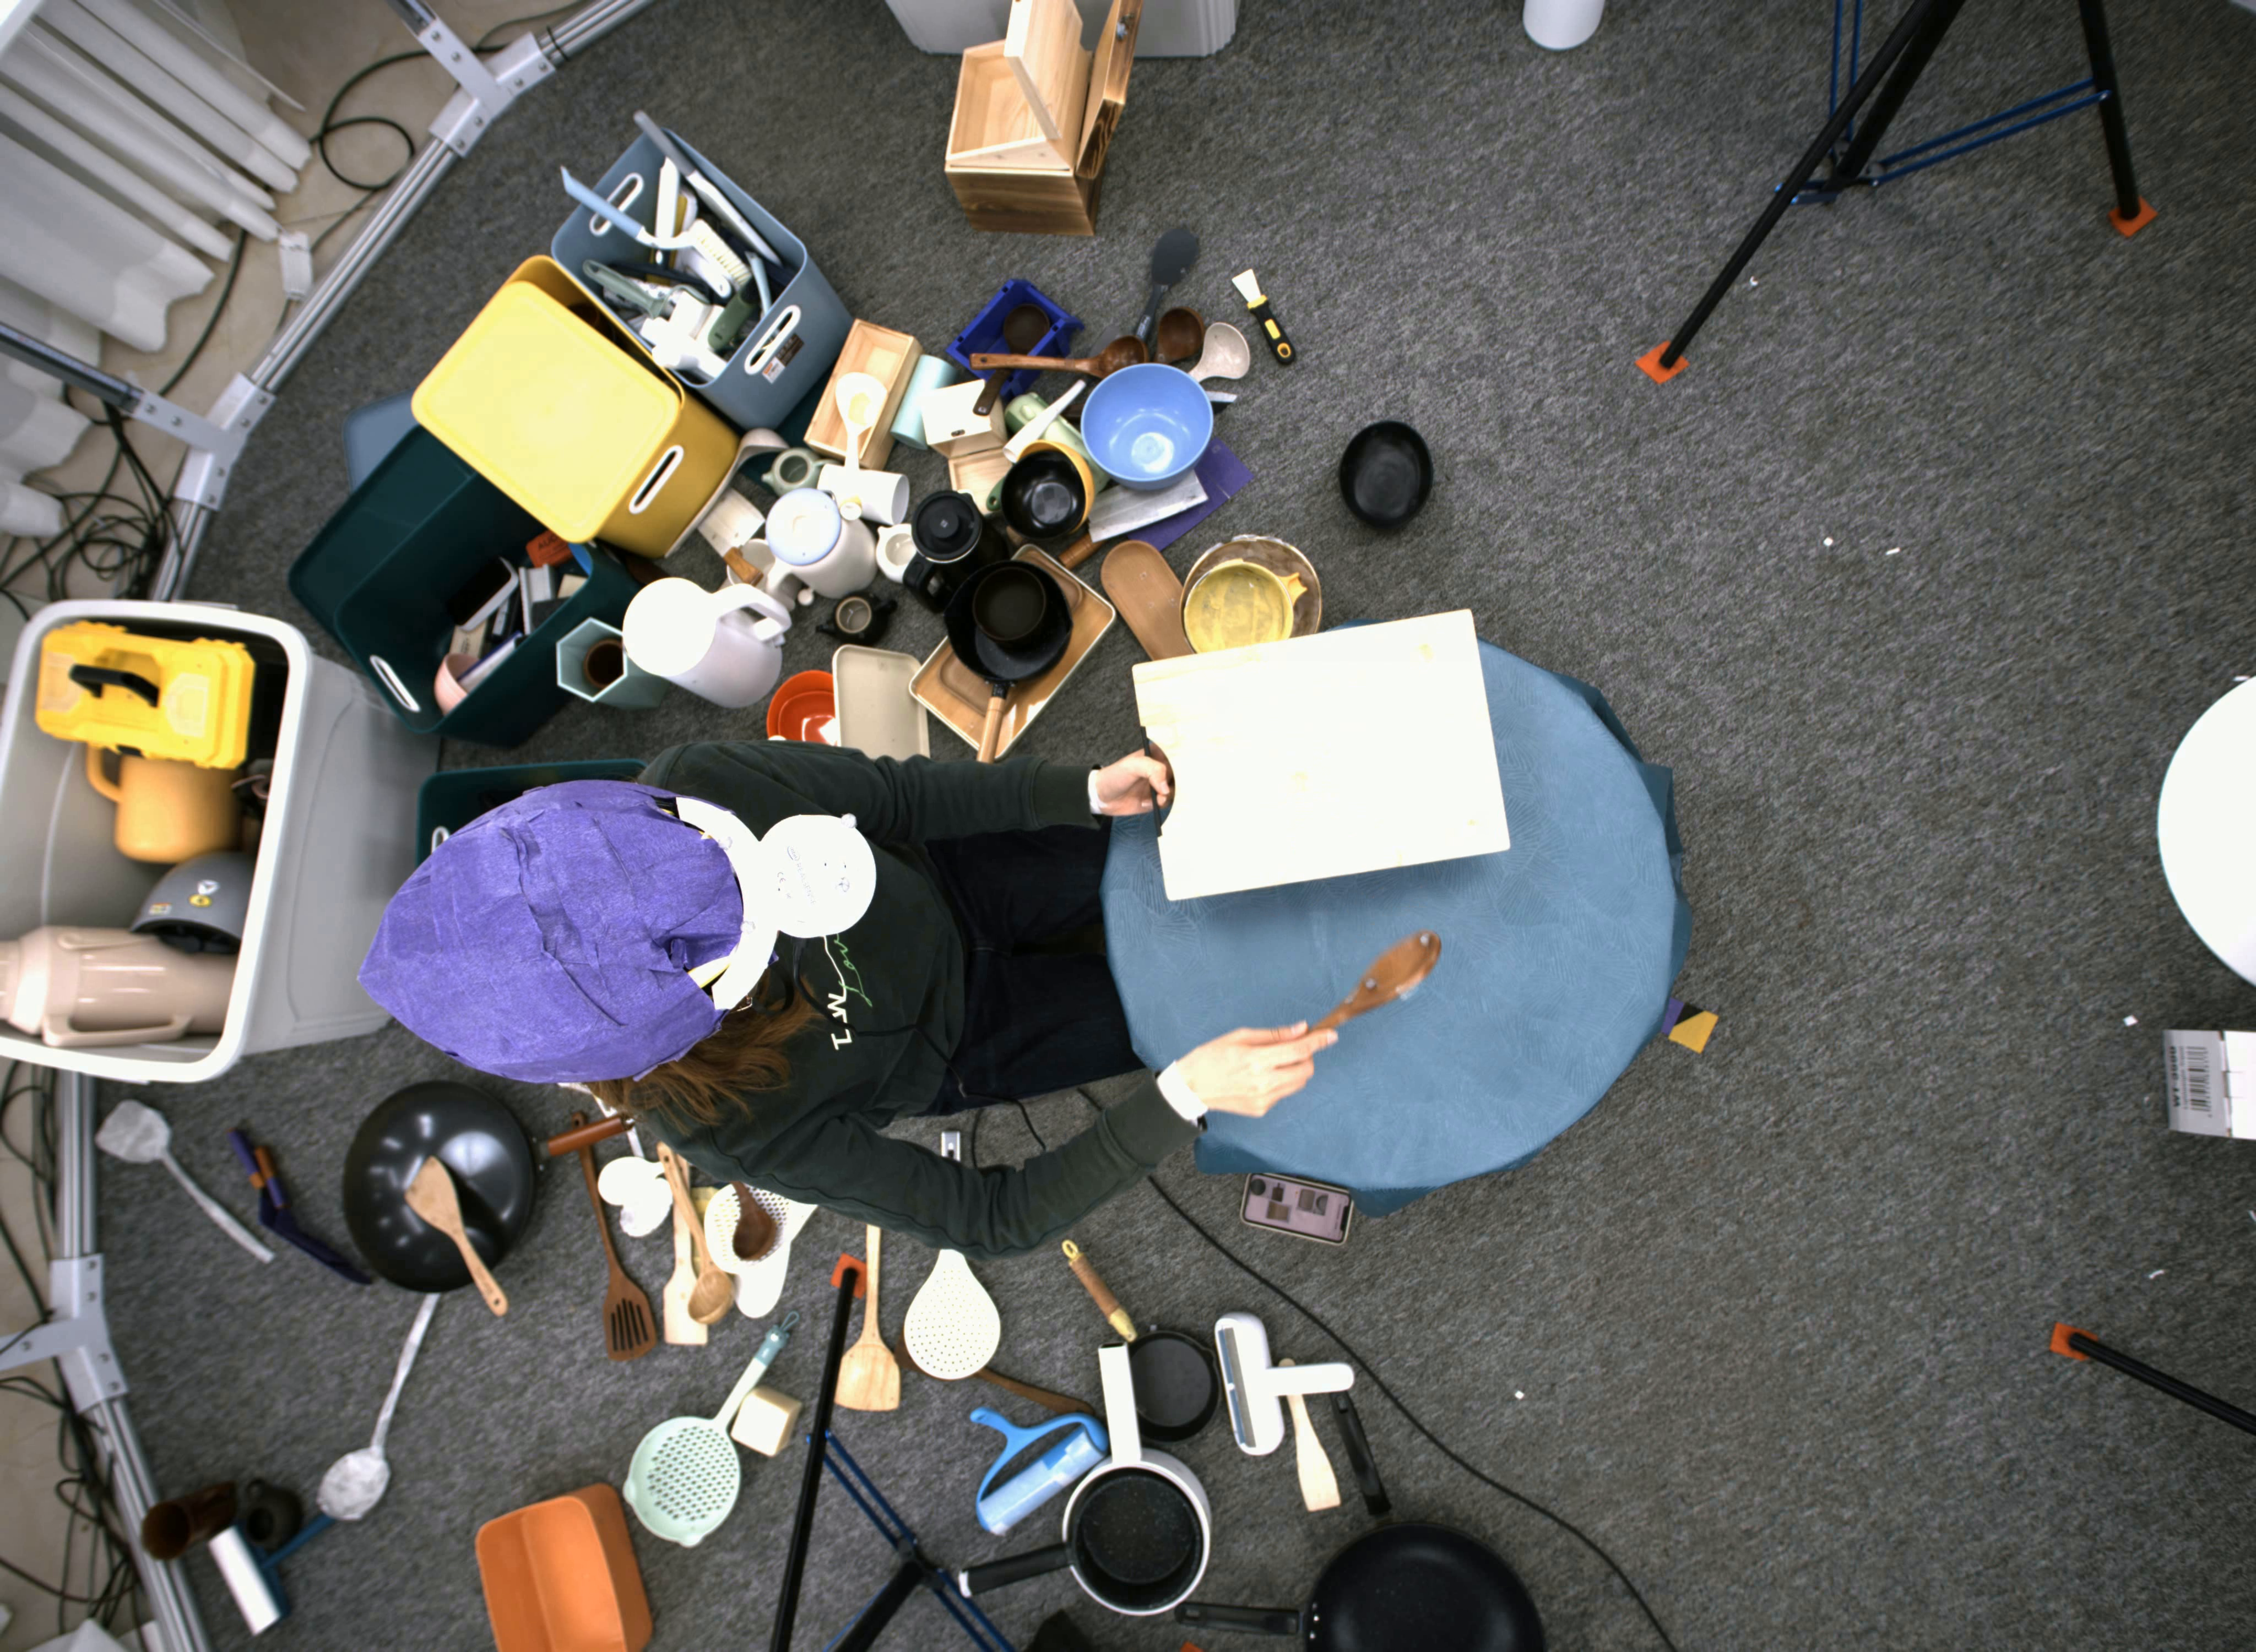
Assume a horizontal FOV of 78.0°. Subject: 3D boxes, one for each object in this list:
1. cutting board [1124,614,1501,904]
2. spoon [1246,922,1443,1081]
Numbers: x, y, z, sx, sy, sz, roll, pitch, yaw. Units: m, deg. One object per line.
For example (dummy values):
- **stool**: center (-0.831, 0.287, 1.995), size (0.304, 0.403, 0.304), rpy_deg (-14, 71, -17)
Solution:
- **cutting board**: center (0.185, -0.067, 1.374), size (0.350, 0.023, 0.250), rpy_deg (-10, 89, 7)
- **spoon**: center (0.193, 0.158, 1.234), size (0.217, 0.074, 0.017), rpy_deg (-38, 113, 10)
